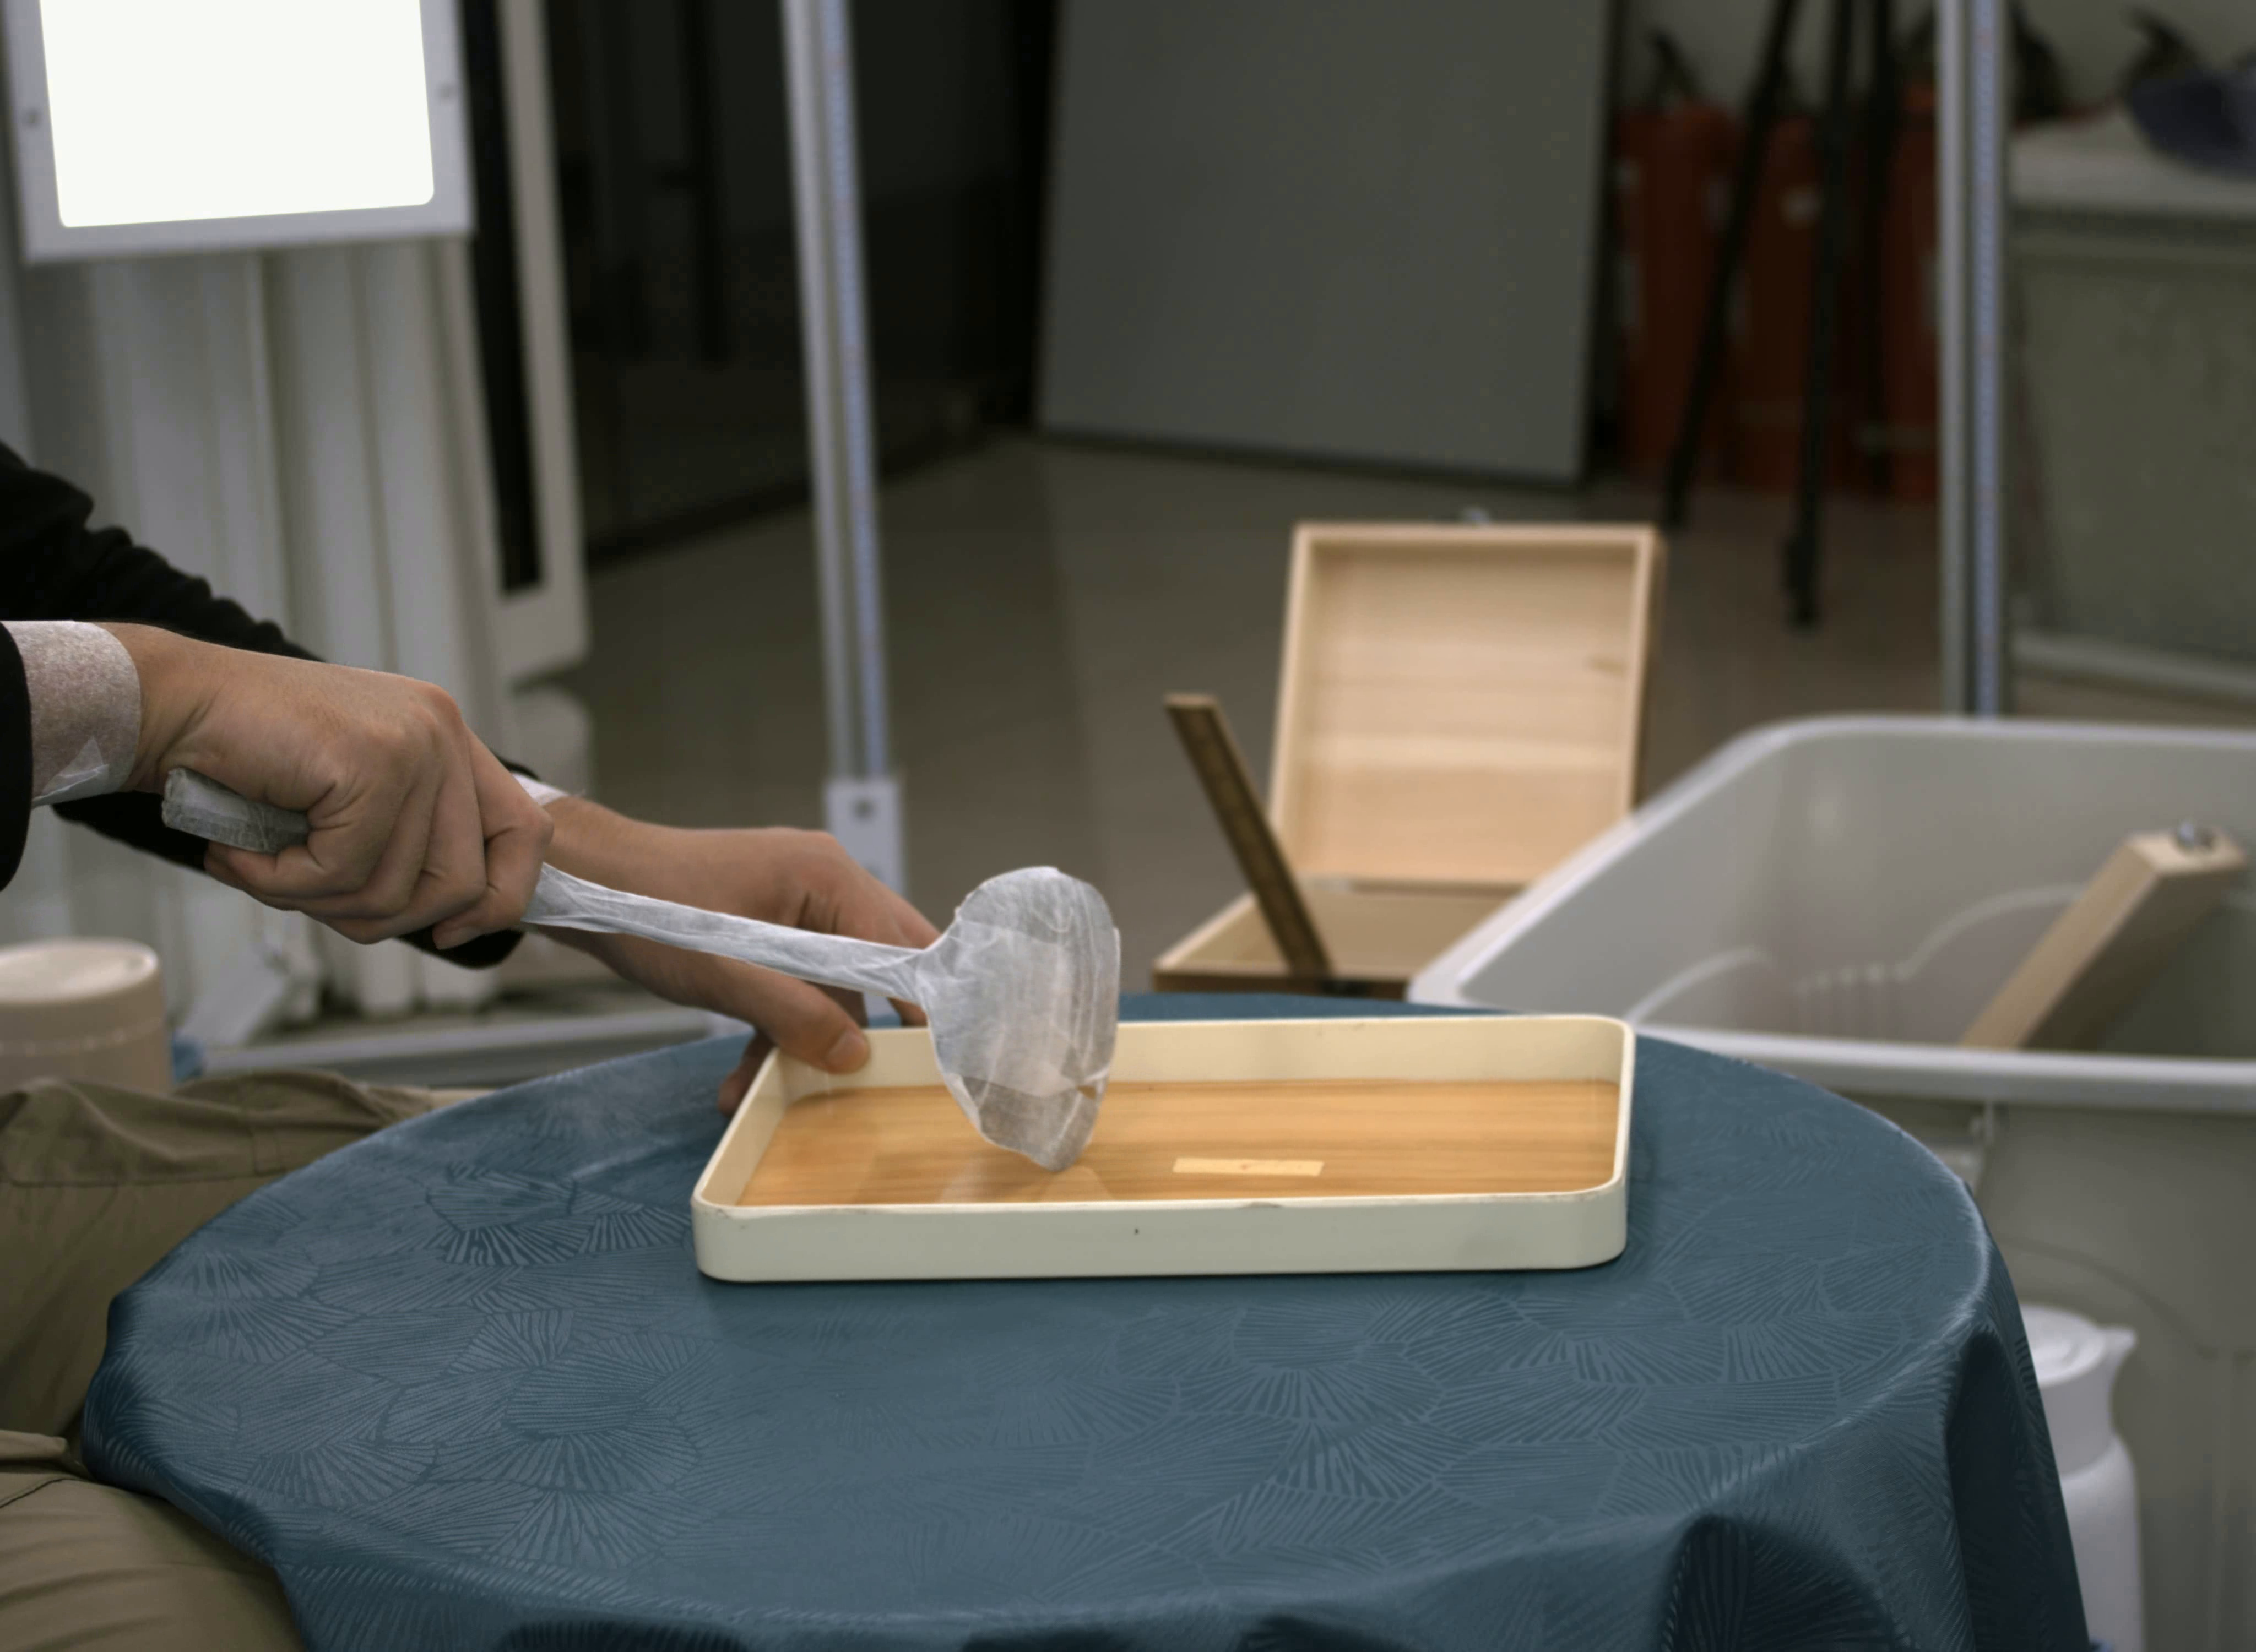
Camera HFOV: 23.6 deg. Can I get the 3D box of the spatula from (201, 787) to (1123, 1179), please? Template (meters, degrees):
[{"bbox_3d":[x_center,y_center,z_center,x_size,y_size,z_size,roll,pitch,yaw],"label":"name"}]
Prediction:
[{"bbox_3d":[-0.135,0.033,1.679,0.357,0.100,0.045,15,-13,-33],"label":"spatula"}]

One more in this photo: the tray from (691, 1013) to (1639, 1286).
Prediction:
[{"bbox_3d":[0.017,0.105,1.767,0.298,0.028,0.191,-2,15,9],"label":"tray"}]
